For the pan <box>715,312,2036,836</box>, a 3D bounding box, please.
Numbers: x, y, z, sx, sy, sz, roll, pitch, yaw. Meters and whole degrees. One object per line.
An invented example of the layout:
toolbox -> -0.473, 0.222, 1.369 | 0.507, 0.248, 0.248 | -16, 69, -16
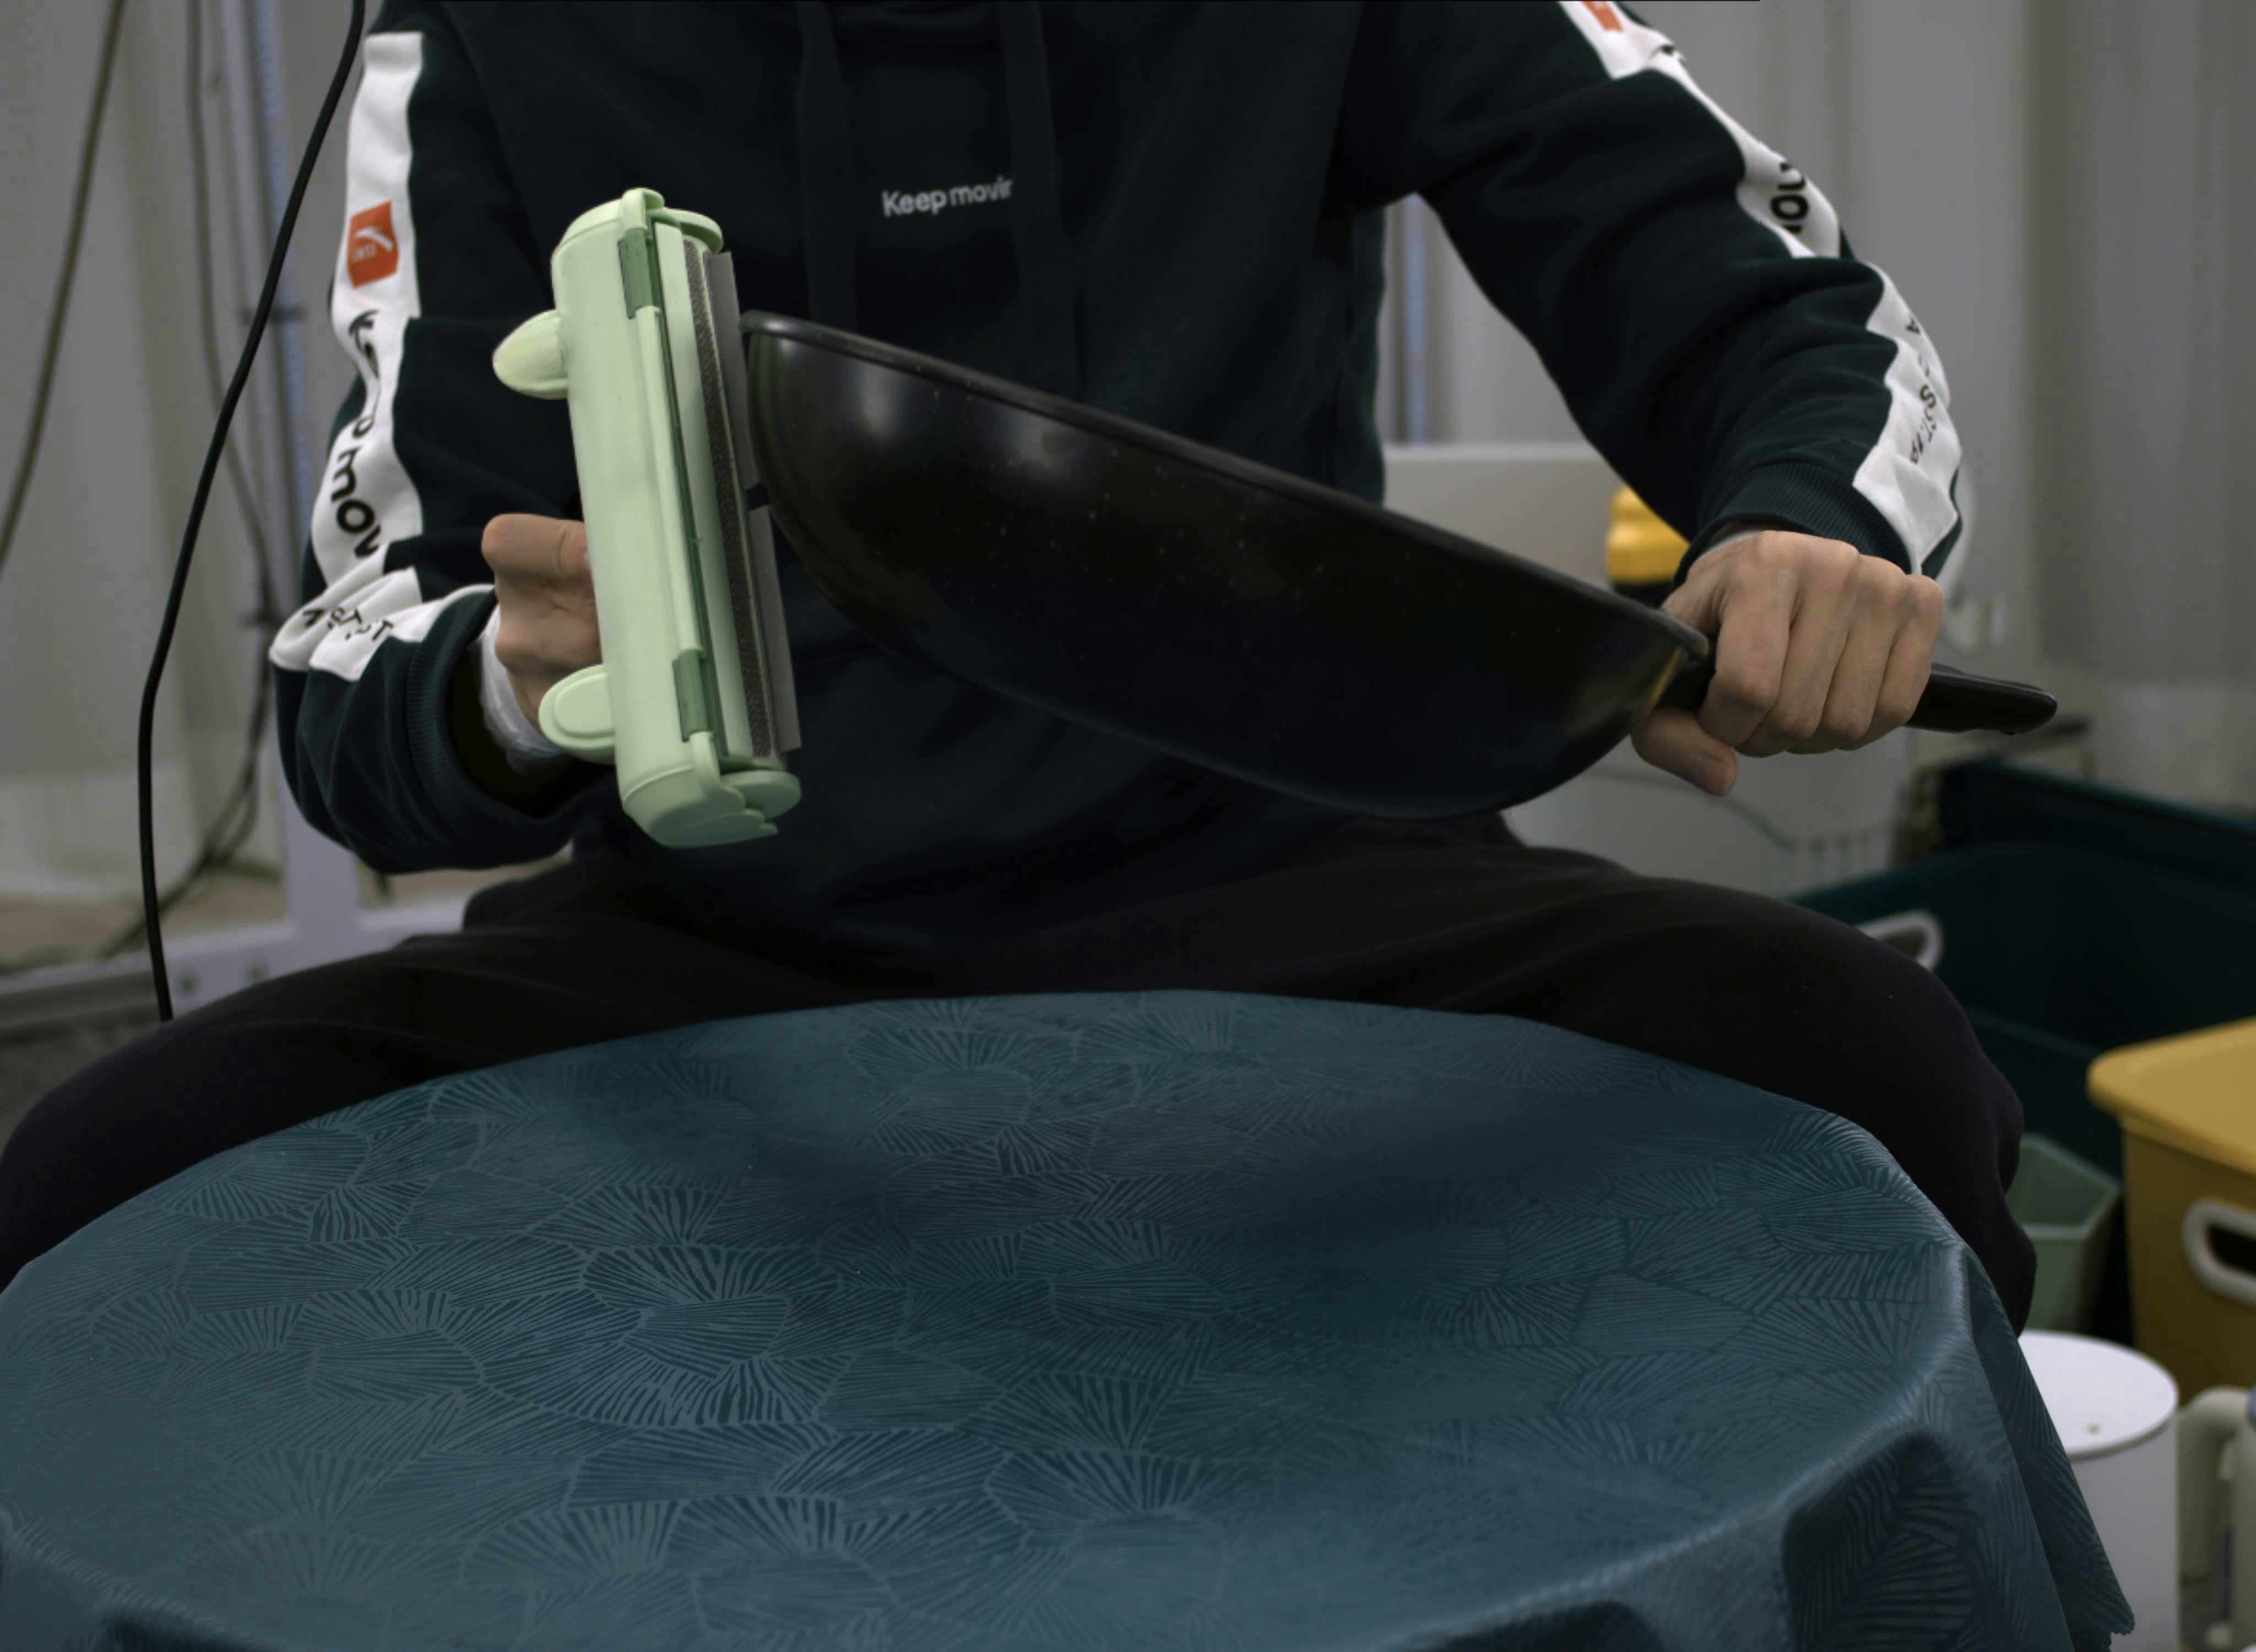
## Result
pan -> 0.082, -0.053, 1.691 | 0.472, 0.112, 0.312 | 17, 4, -30

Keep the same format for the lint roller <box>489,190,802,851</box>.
lint roller -> -0.161, -0.074, 1.704 | 0.082, 0.201, 0.182 | -3, -19, -21
